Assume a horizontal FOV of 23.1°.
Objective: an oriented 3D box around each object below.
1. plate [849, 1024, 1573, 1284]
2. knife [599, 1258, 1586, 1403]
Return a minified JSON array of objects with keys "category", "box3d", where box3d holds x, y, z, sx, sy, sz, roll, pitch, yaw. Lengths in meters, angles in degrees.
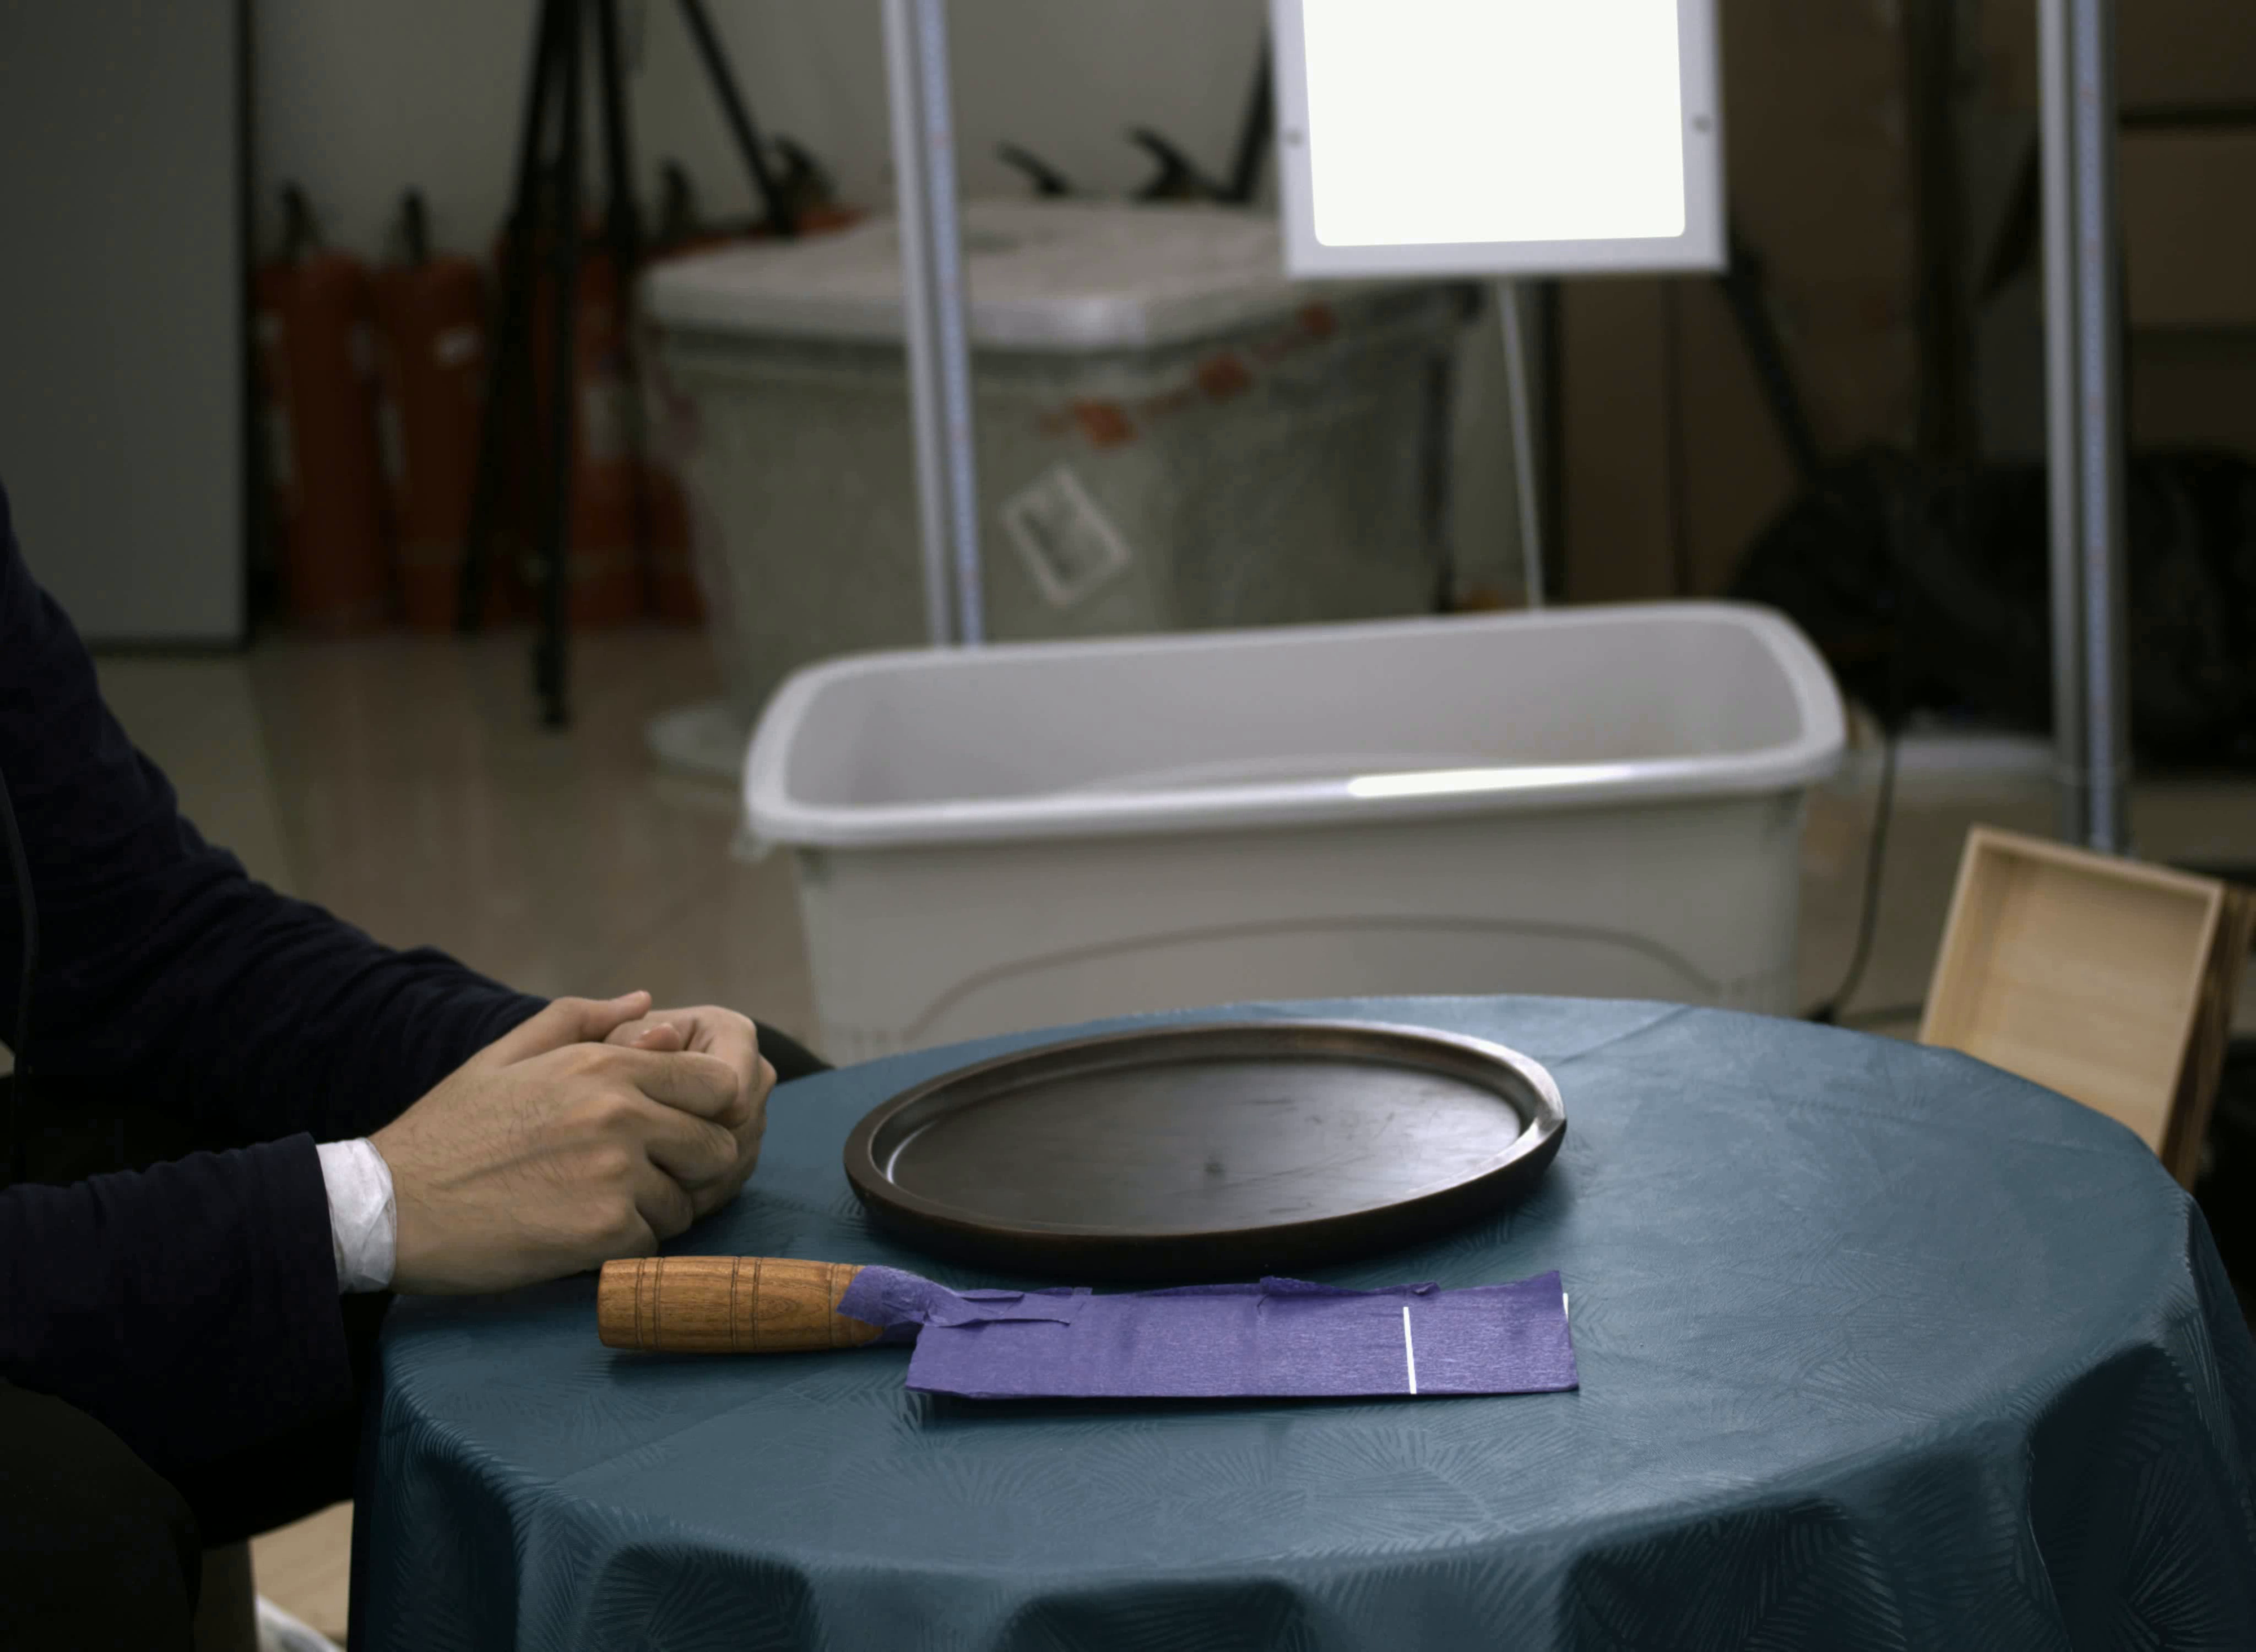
[{"category":"plate","box3d":[0.029,0.111,1.906,0.254,0.029,0.254,-4,14,0]},{"category":"knife","box3d":[-0.014,0.157,1.726,0.316,0.032,0.103,-3,14,6]}]
